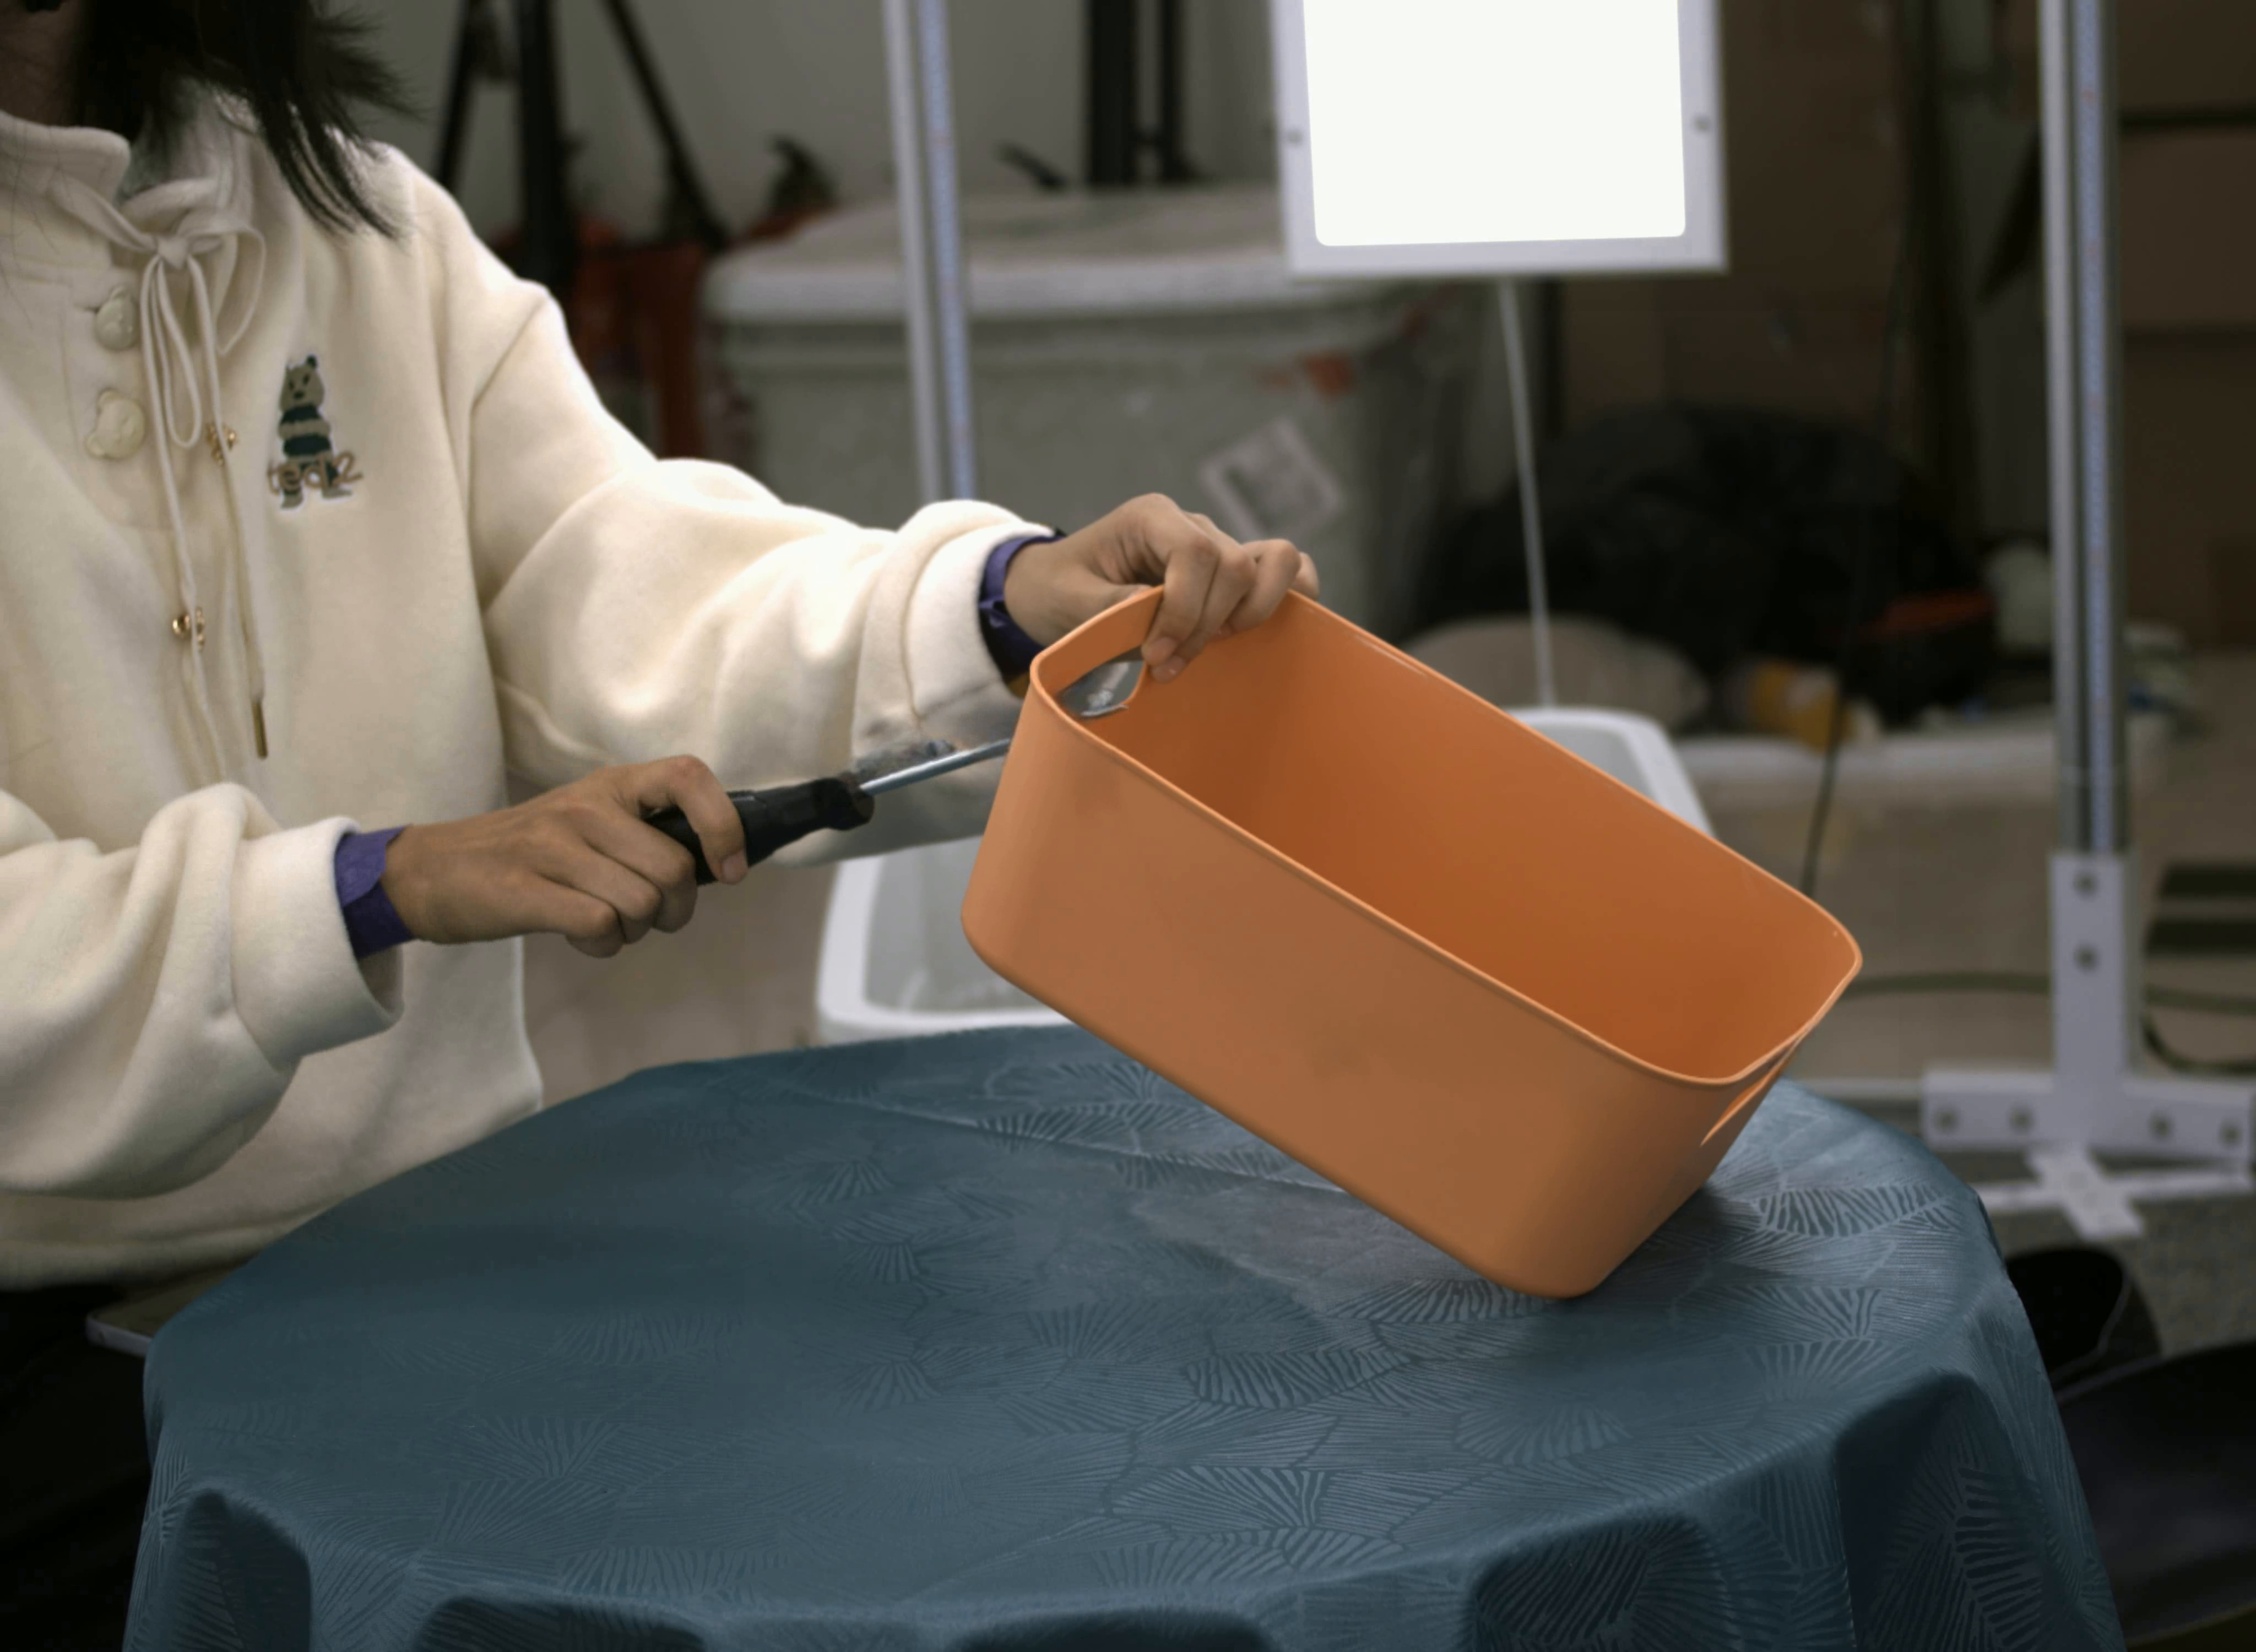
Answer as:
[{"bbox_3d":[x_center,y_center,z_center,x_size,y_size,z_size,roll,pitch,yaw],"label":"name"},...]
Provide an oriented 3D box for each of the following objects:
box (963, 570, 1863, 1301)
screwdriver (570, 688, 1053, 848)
[{"bbox_3d":[0.089,0.035,1.814,0.275,0.104,0.195,31,26,15],"label":"box"},{"bbox_3d":[-0.100,-0.022,1.876,0.200,0.031,0.031,-11,11,20],"label":"screwdriver"}]
